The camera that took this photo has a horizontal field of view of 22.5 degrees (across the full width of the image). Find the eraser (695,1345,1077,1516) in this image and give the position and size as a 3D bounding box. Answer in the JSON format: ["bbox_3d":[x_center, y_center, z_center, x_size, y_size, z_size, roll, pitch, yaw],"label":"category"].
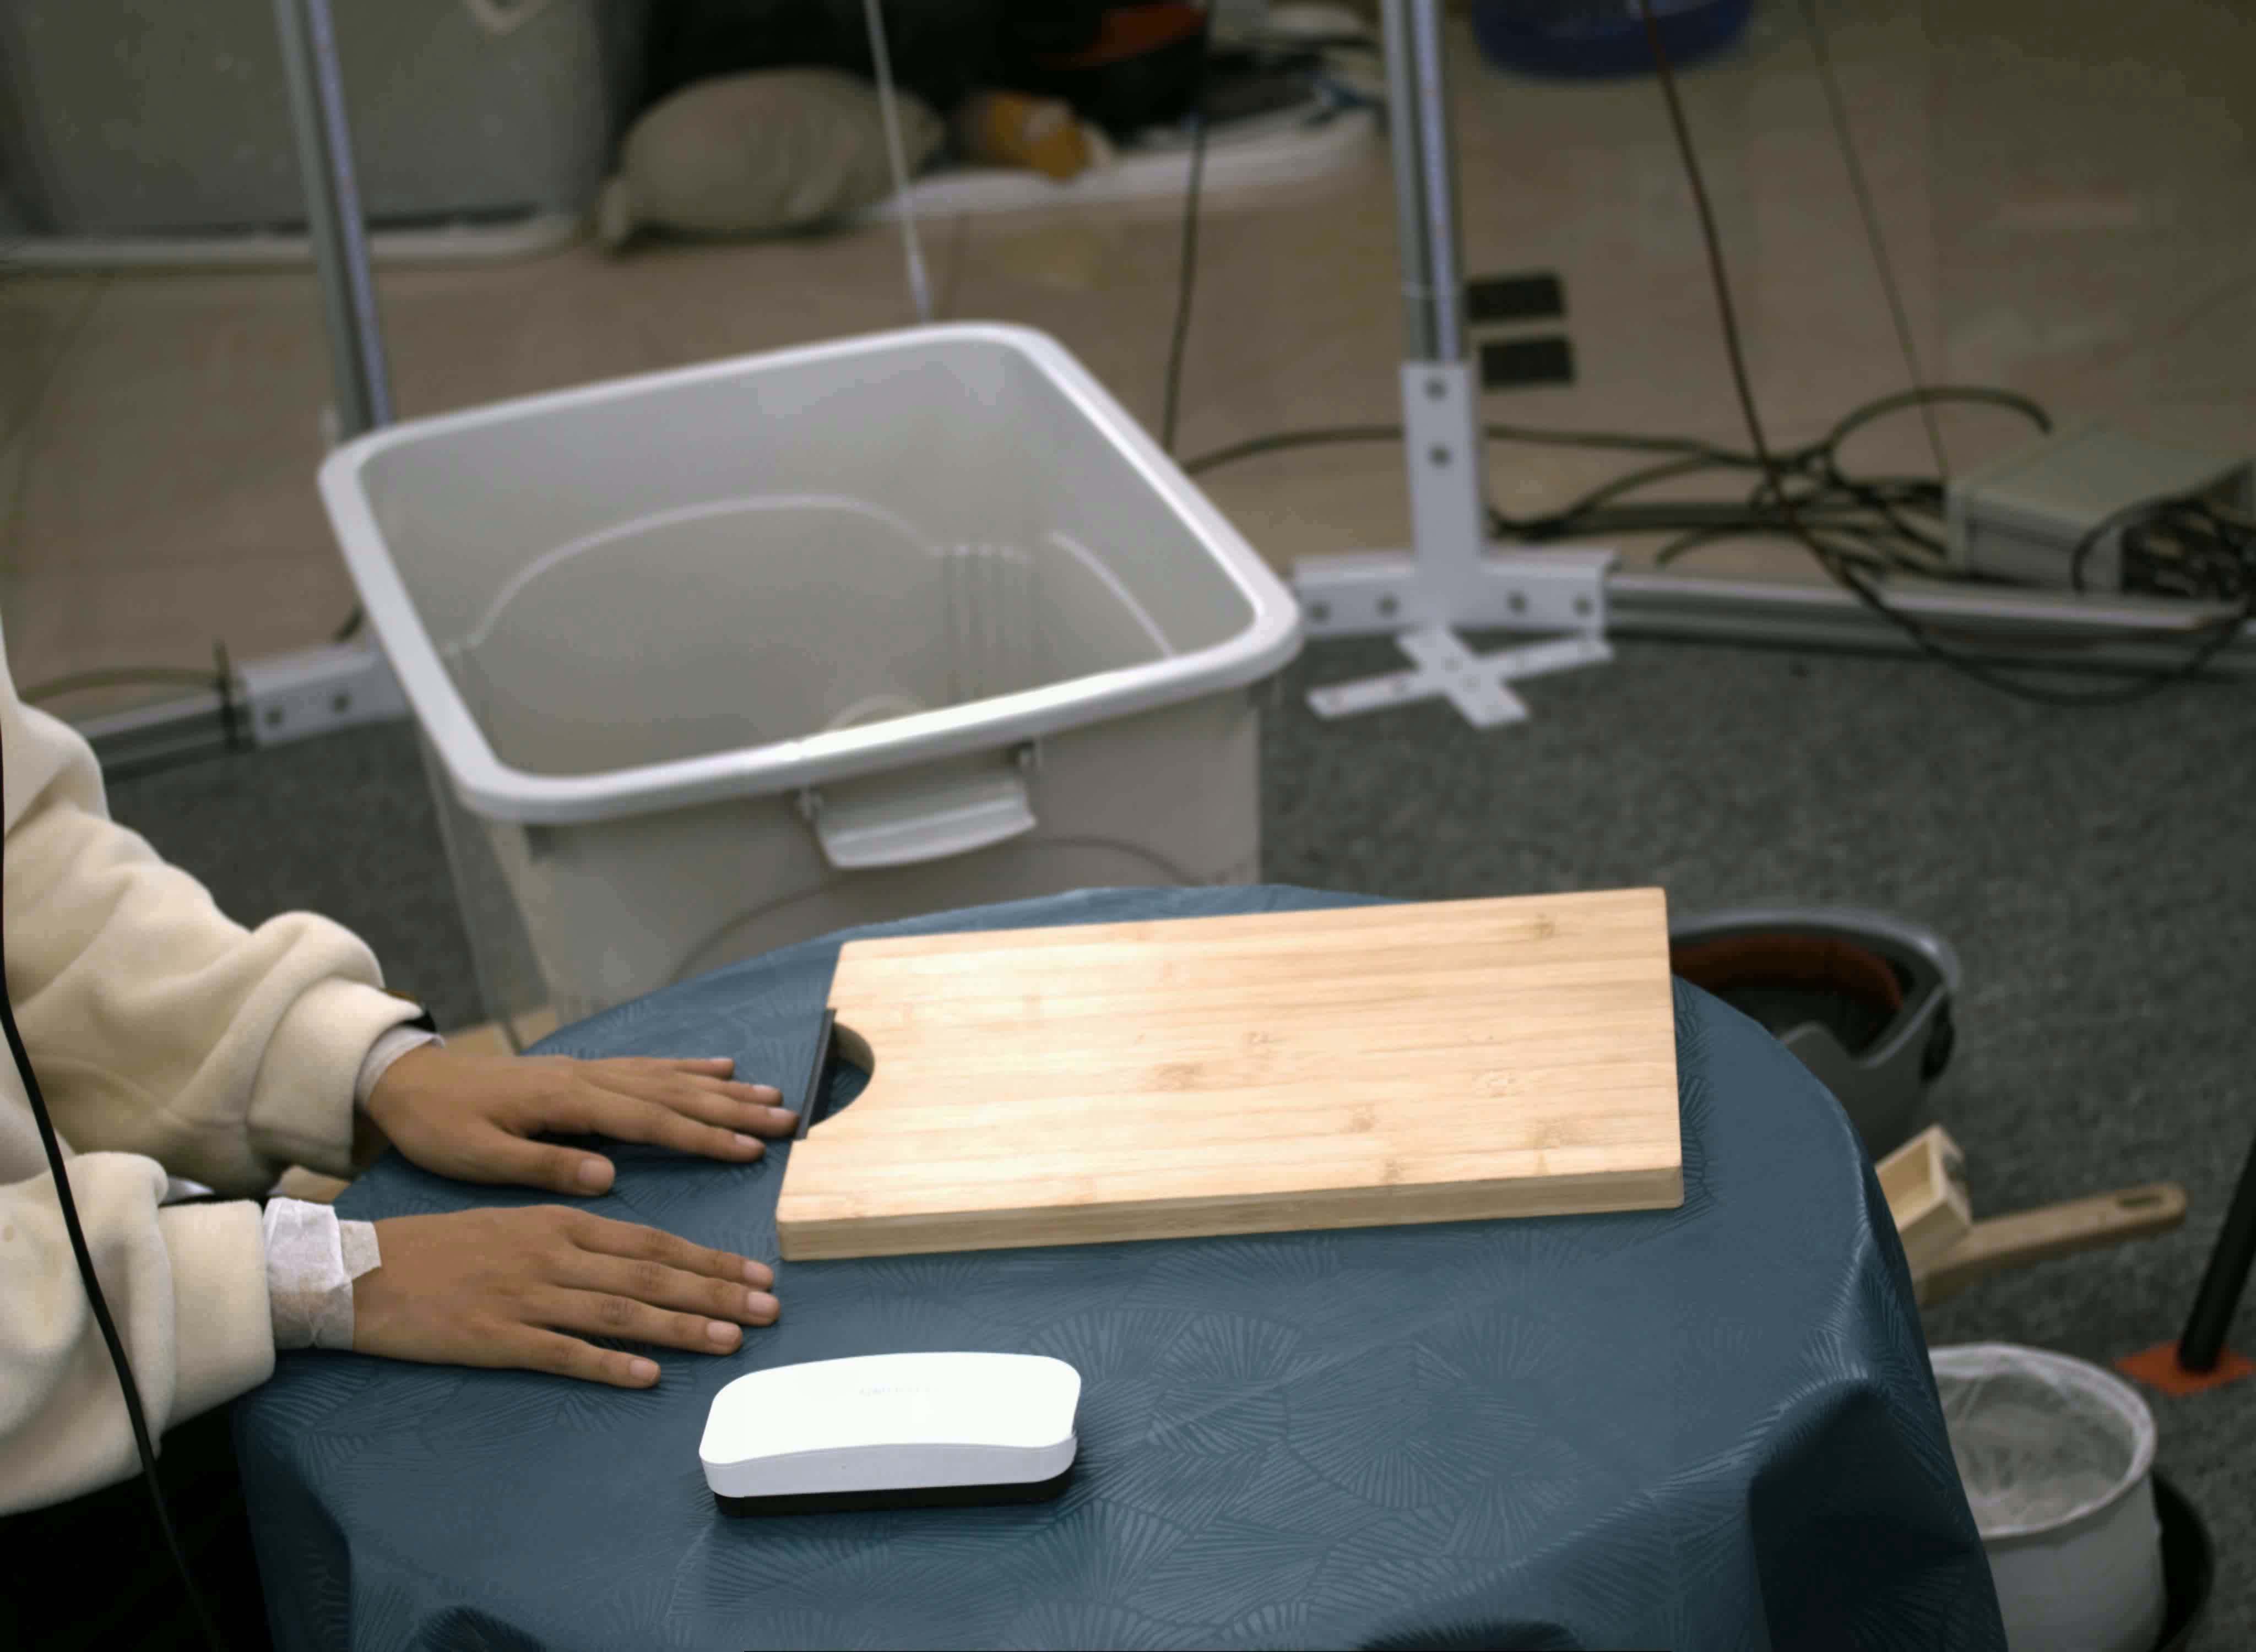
[{"bbox_3d":[-0.083,0.211,1.978,0.131,0.035,0.062,-2,26,8],"label":"eraser"}]

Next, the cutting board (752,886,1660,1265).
[{"bbox_3d":[0.038,0.095,2.214,0.348,0.024,0.247,-4,25,5],"label":"cutting board"}]
